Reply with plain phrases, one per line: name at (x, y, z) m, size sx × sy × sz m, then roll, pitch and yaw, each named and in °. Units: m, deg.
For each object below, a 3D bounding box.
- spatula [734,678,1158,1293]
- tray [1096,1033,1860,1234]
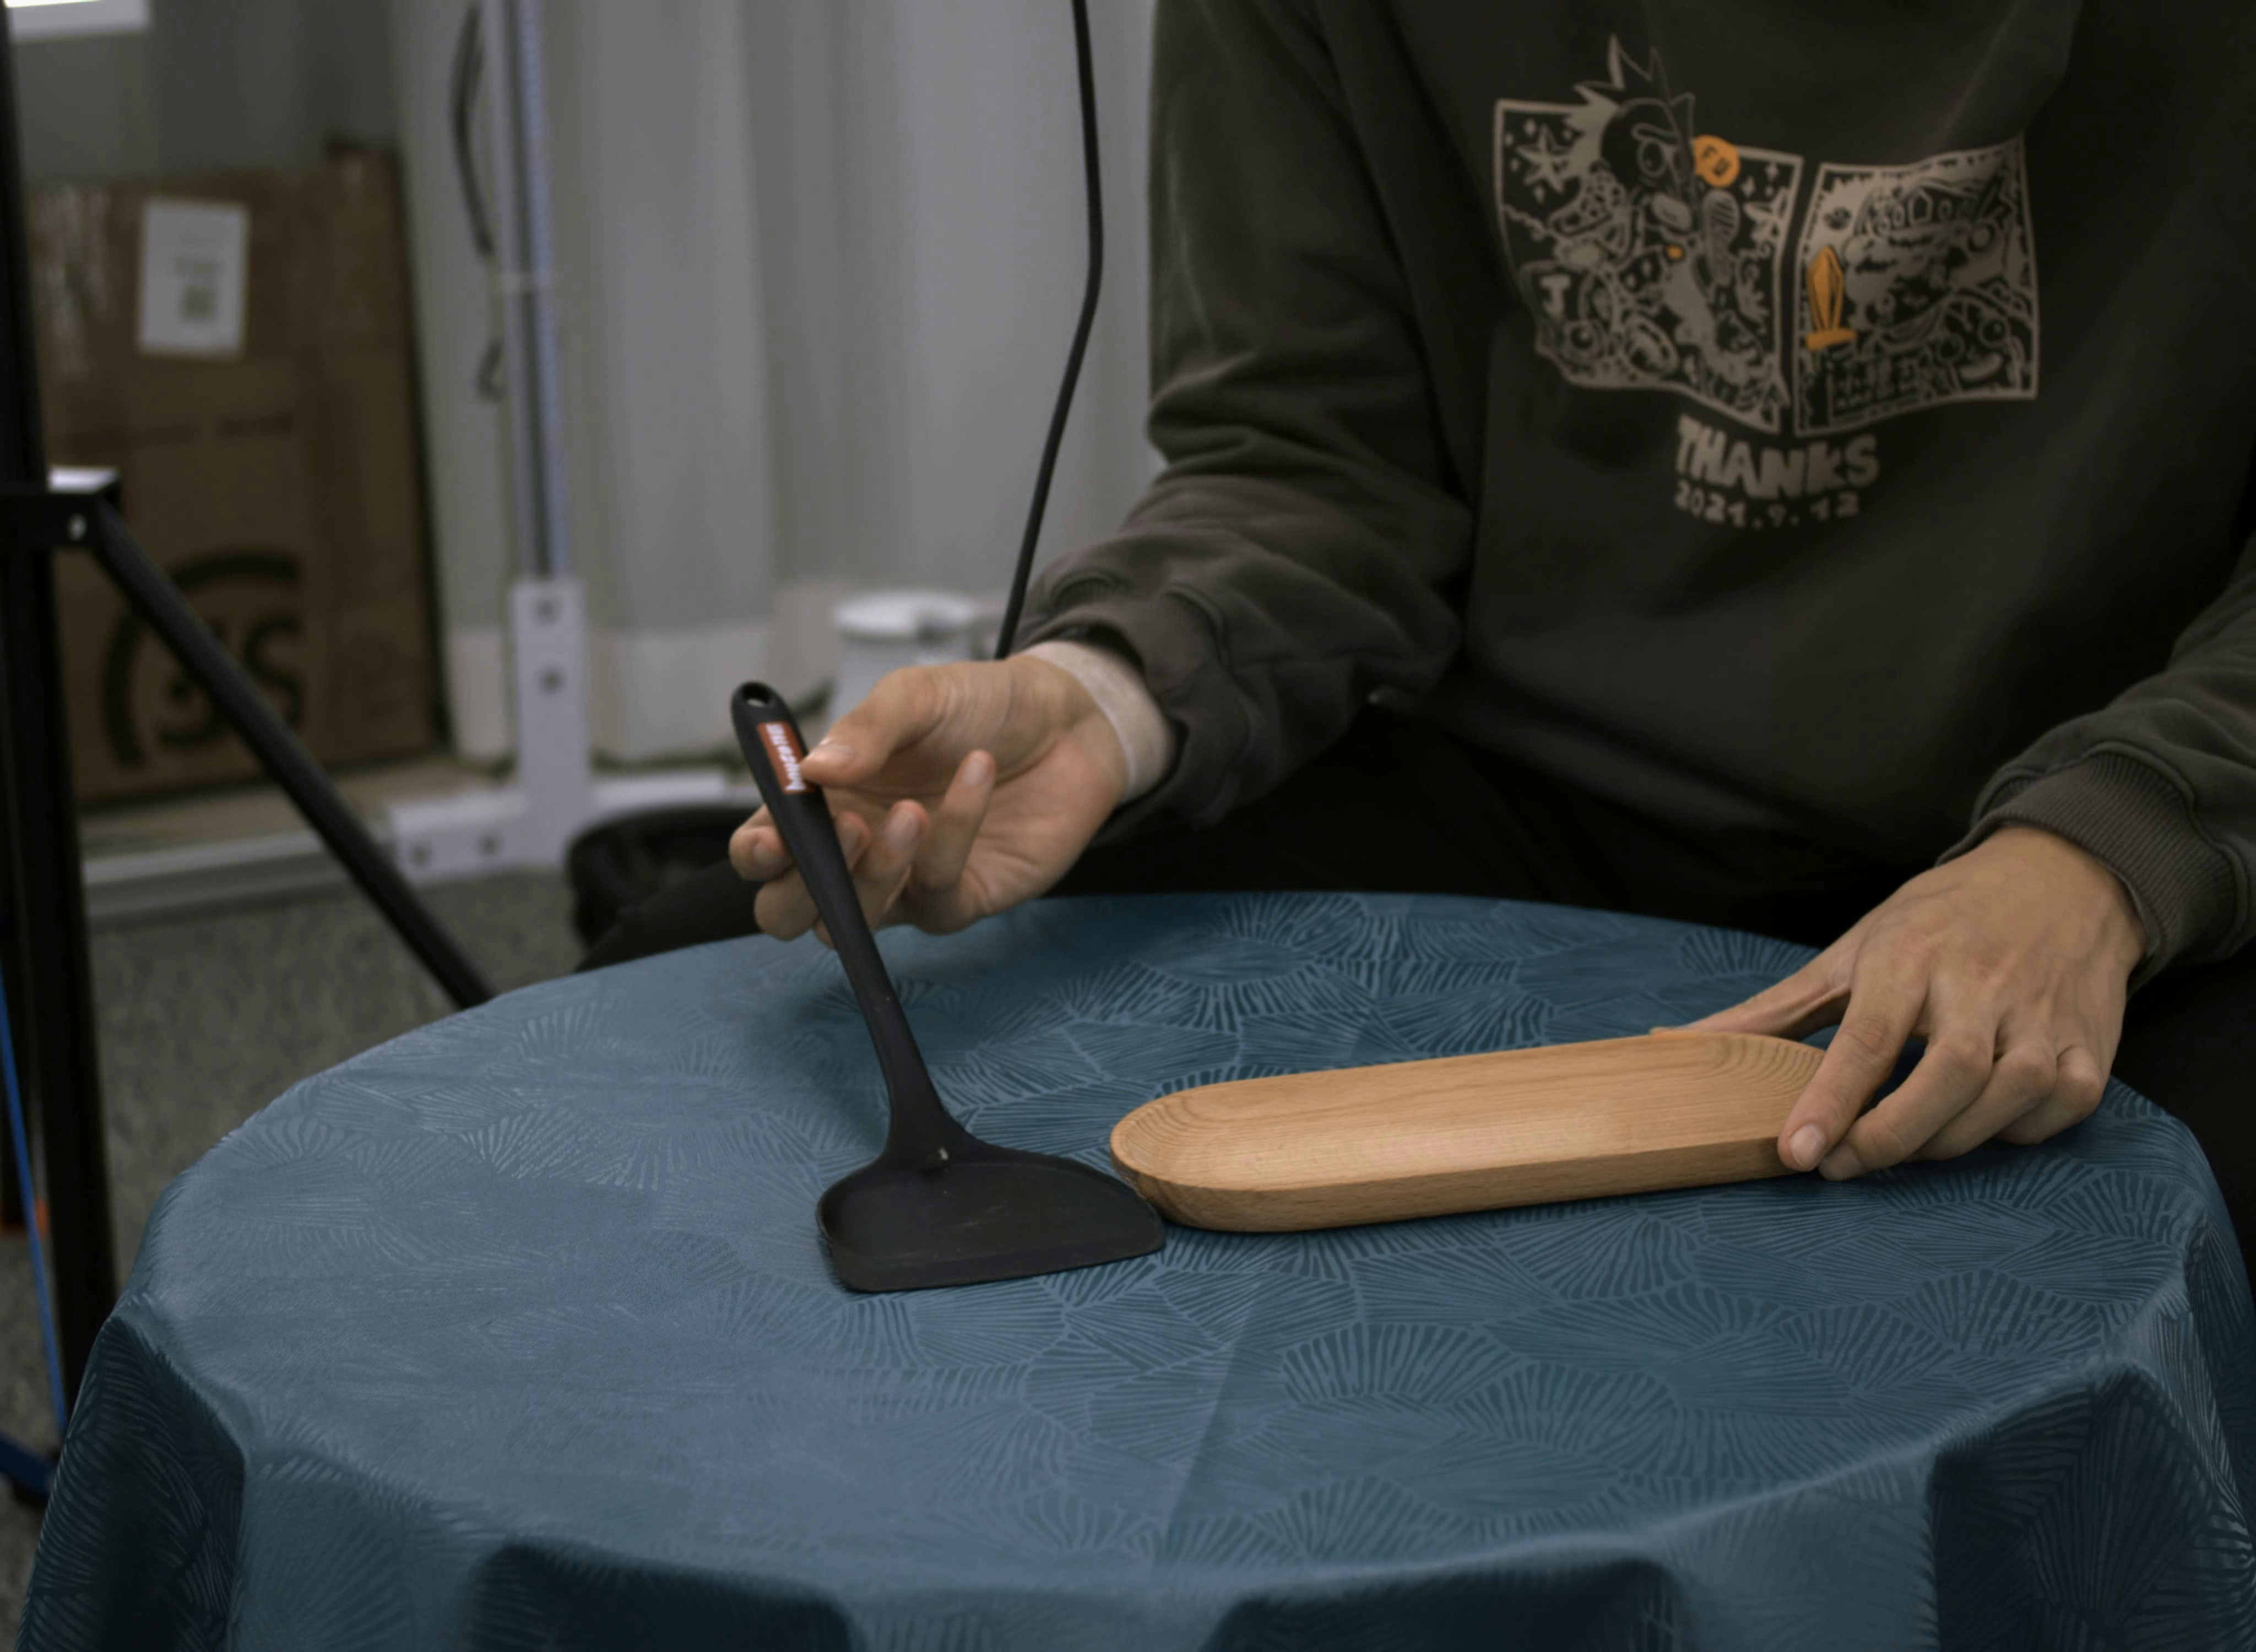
spatula at (-0.079, 0.042, 1.633) m, size 0.098 × 0.040 × 0.332 m, roll -6°, pitch 39°, yaw -15°
tray at (0.105, 0.092, 1.573) m, size 0.228 × 0.020 × 0.103 m, roll -7°, pitch 16°, yaw -9°
